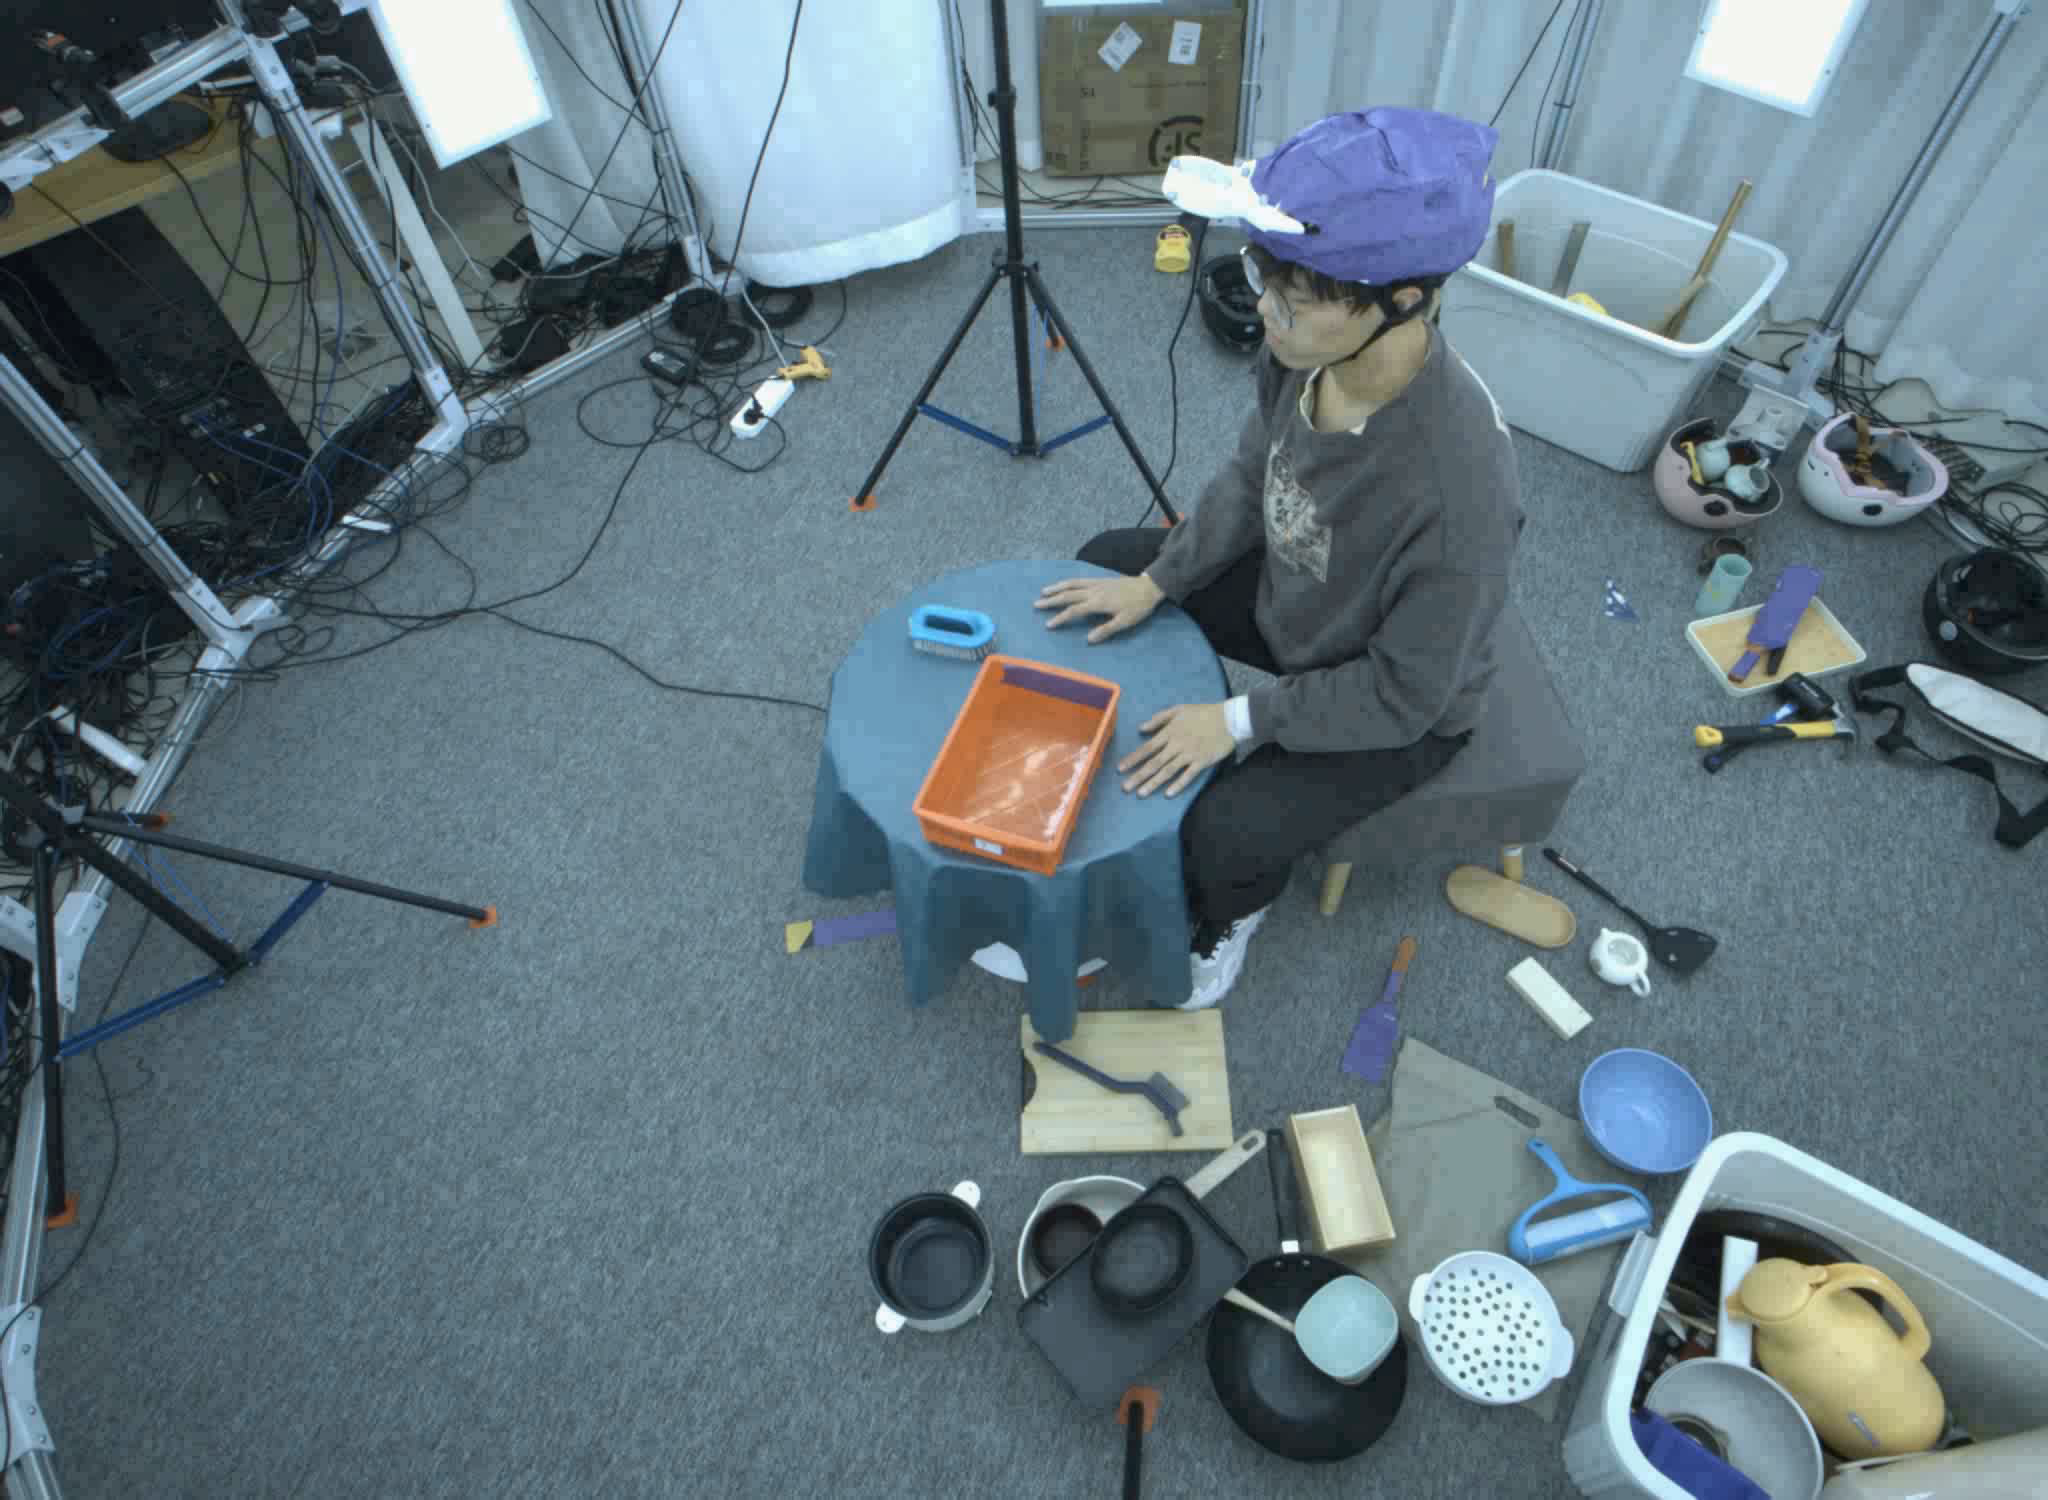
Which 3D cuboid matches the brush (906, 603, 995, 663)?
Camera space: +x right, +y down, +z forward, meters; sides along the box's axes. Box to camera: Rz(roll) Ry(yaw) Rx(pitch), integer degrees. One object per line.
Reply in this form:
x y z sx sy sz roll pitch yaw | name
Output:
-0.113 -0.192 1.886 0.140 0.064 0.084 15 52 11 | brush

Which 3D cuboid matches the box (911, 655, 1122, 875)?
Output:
-0.003 0.019 1.718 0.204 0.097 0.303 16 57 13 | box
